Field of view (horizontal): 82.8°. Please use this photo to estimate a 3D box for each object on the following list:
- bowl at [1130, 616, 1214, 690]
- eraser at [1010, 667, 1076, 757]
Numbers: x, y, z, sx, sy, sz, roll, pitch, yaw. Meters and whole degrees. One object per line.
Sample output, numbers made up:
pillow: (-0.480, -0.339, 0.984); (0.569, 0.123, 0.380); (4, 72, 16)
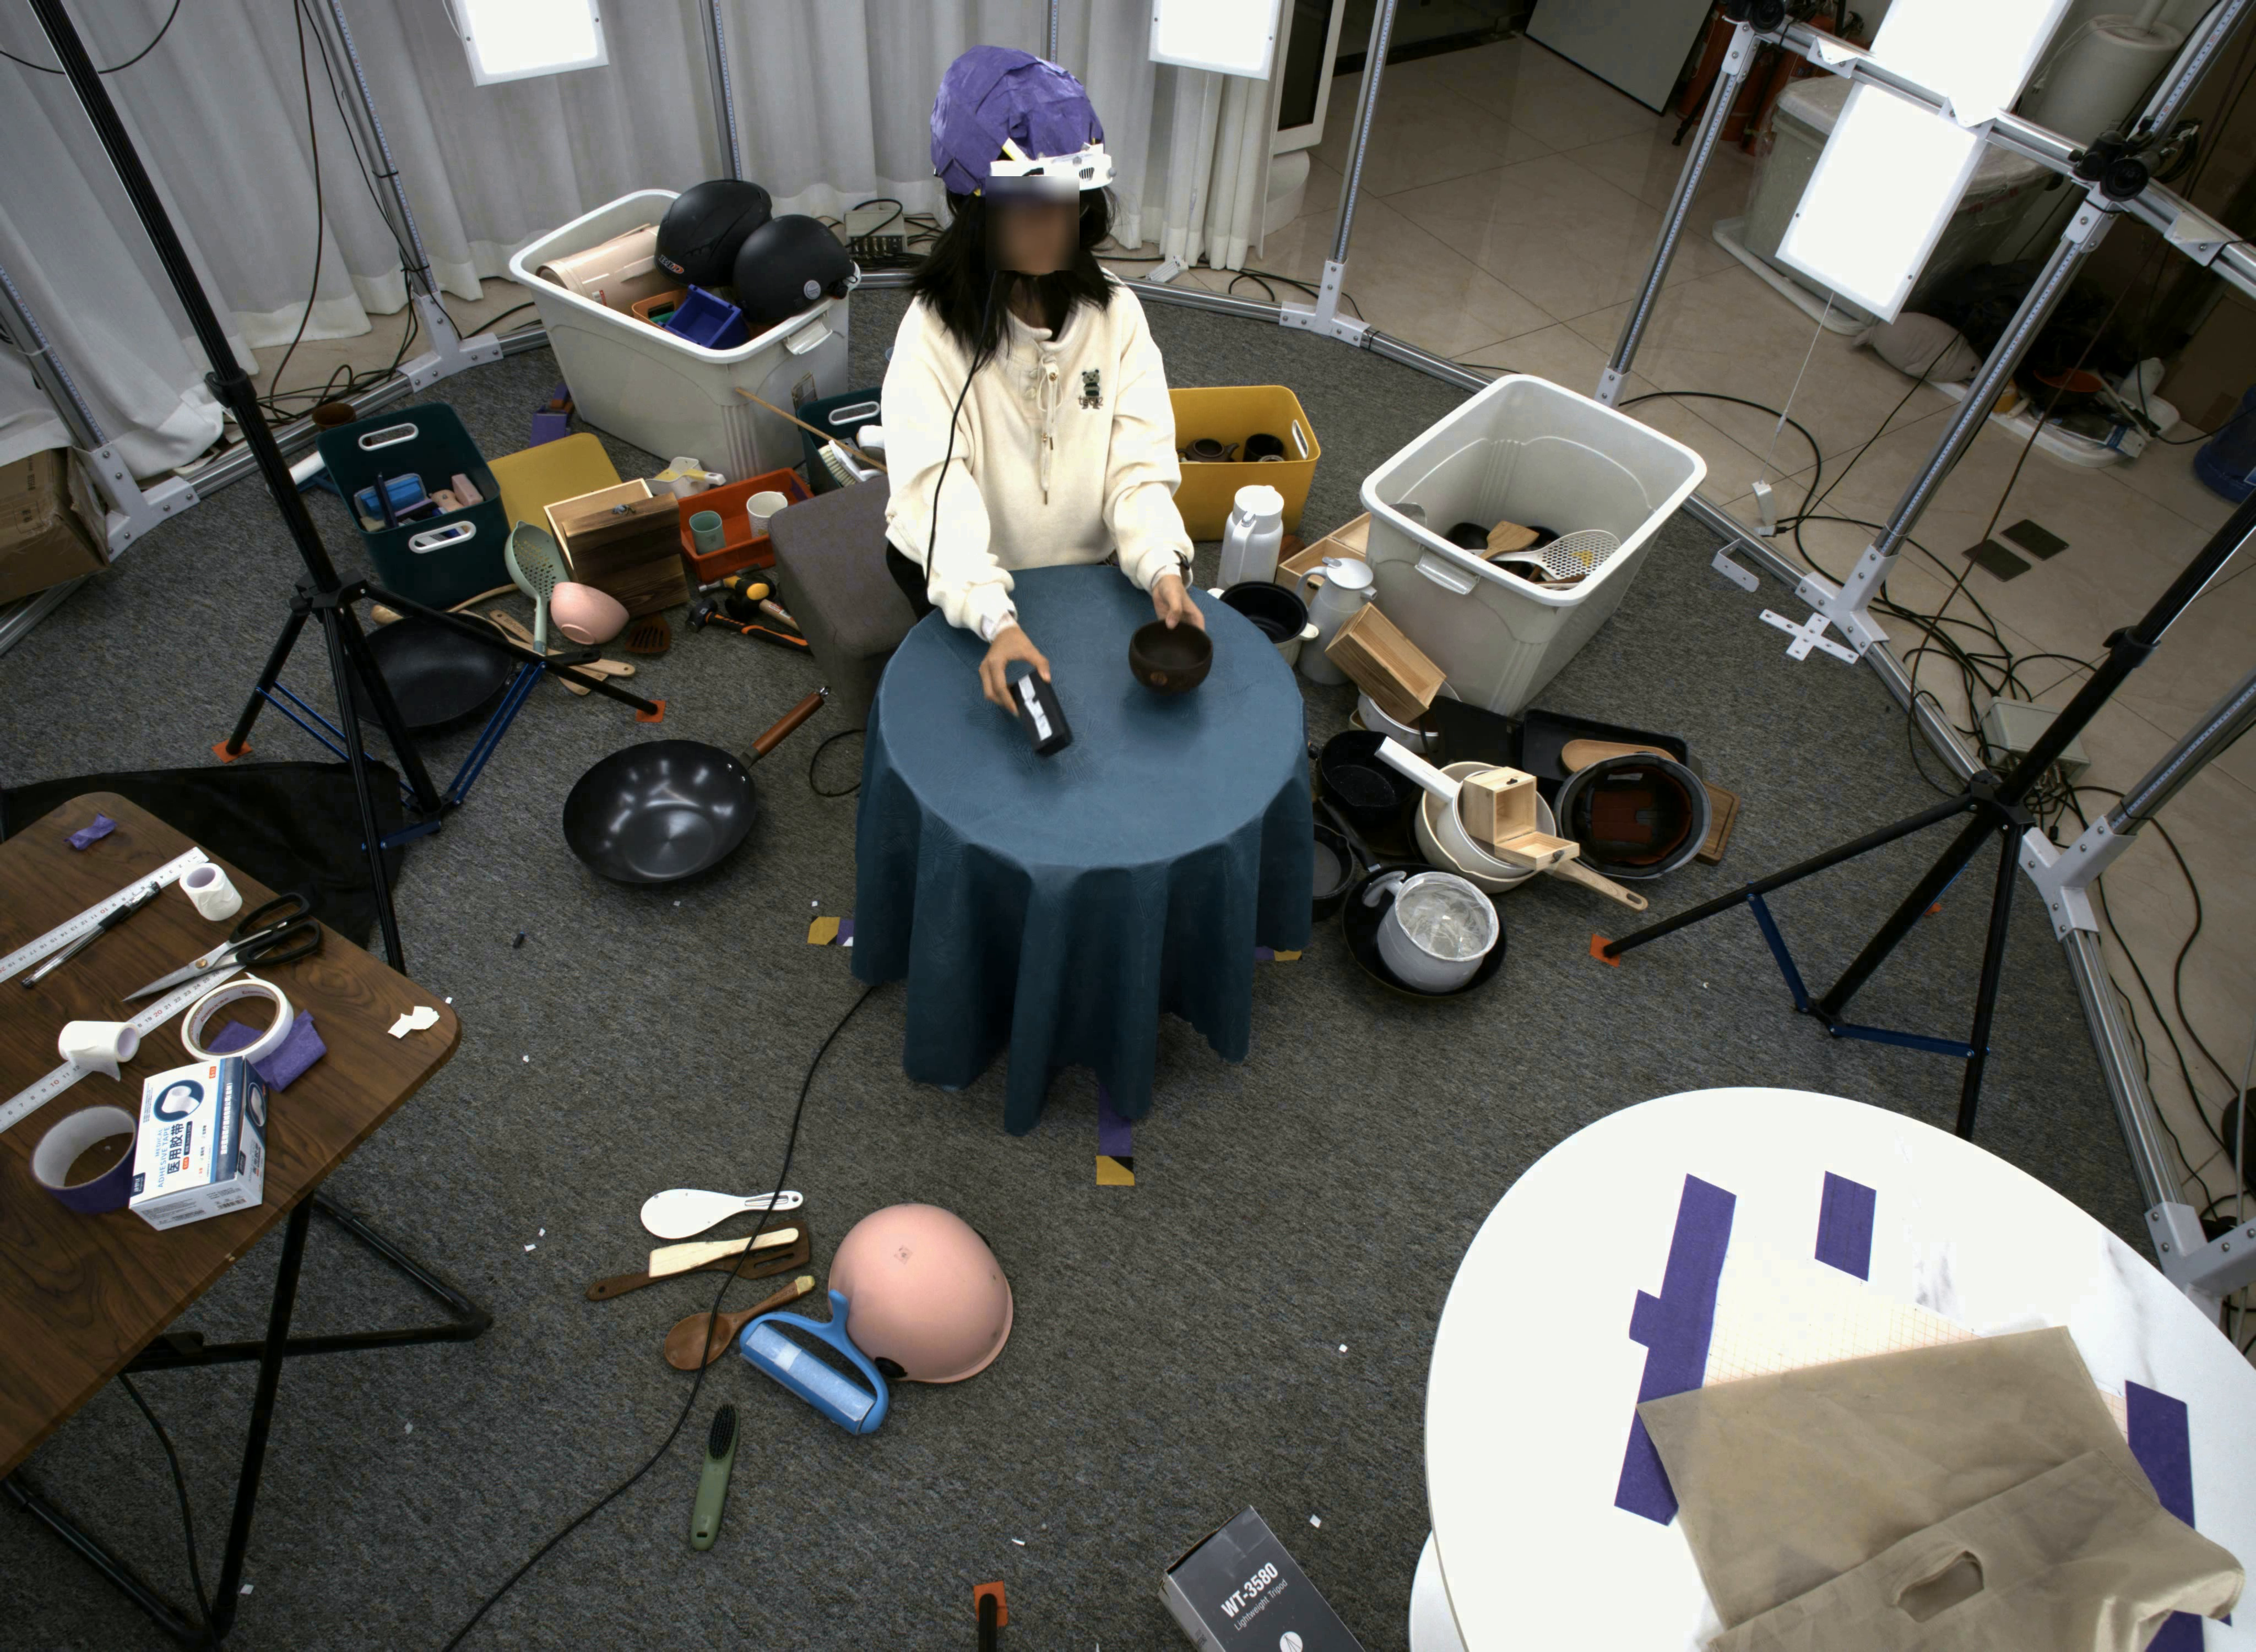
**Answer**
bowl: (0.060, -0.235, 1.806); (0.118, 0.068, 0.121); (4, 43, -4)
eraser: (-0.114, -0.154, 1.725); (0.053, 0.030, 0.128); (-33, 54, 12)
